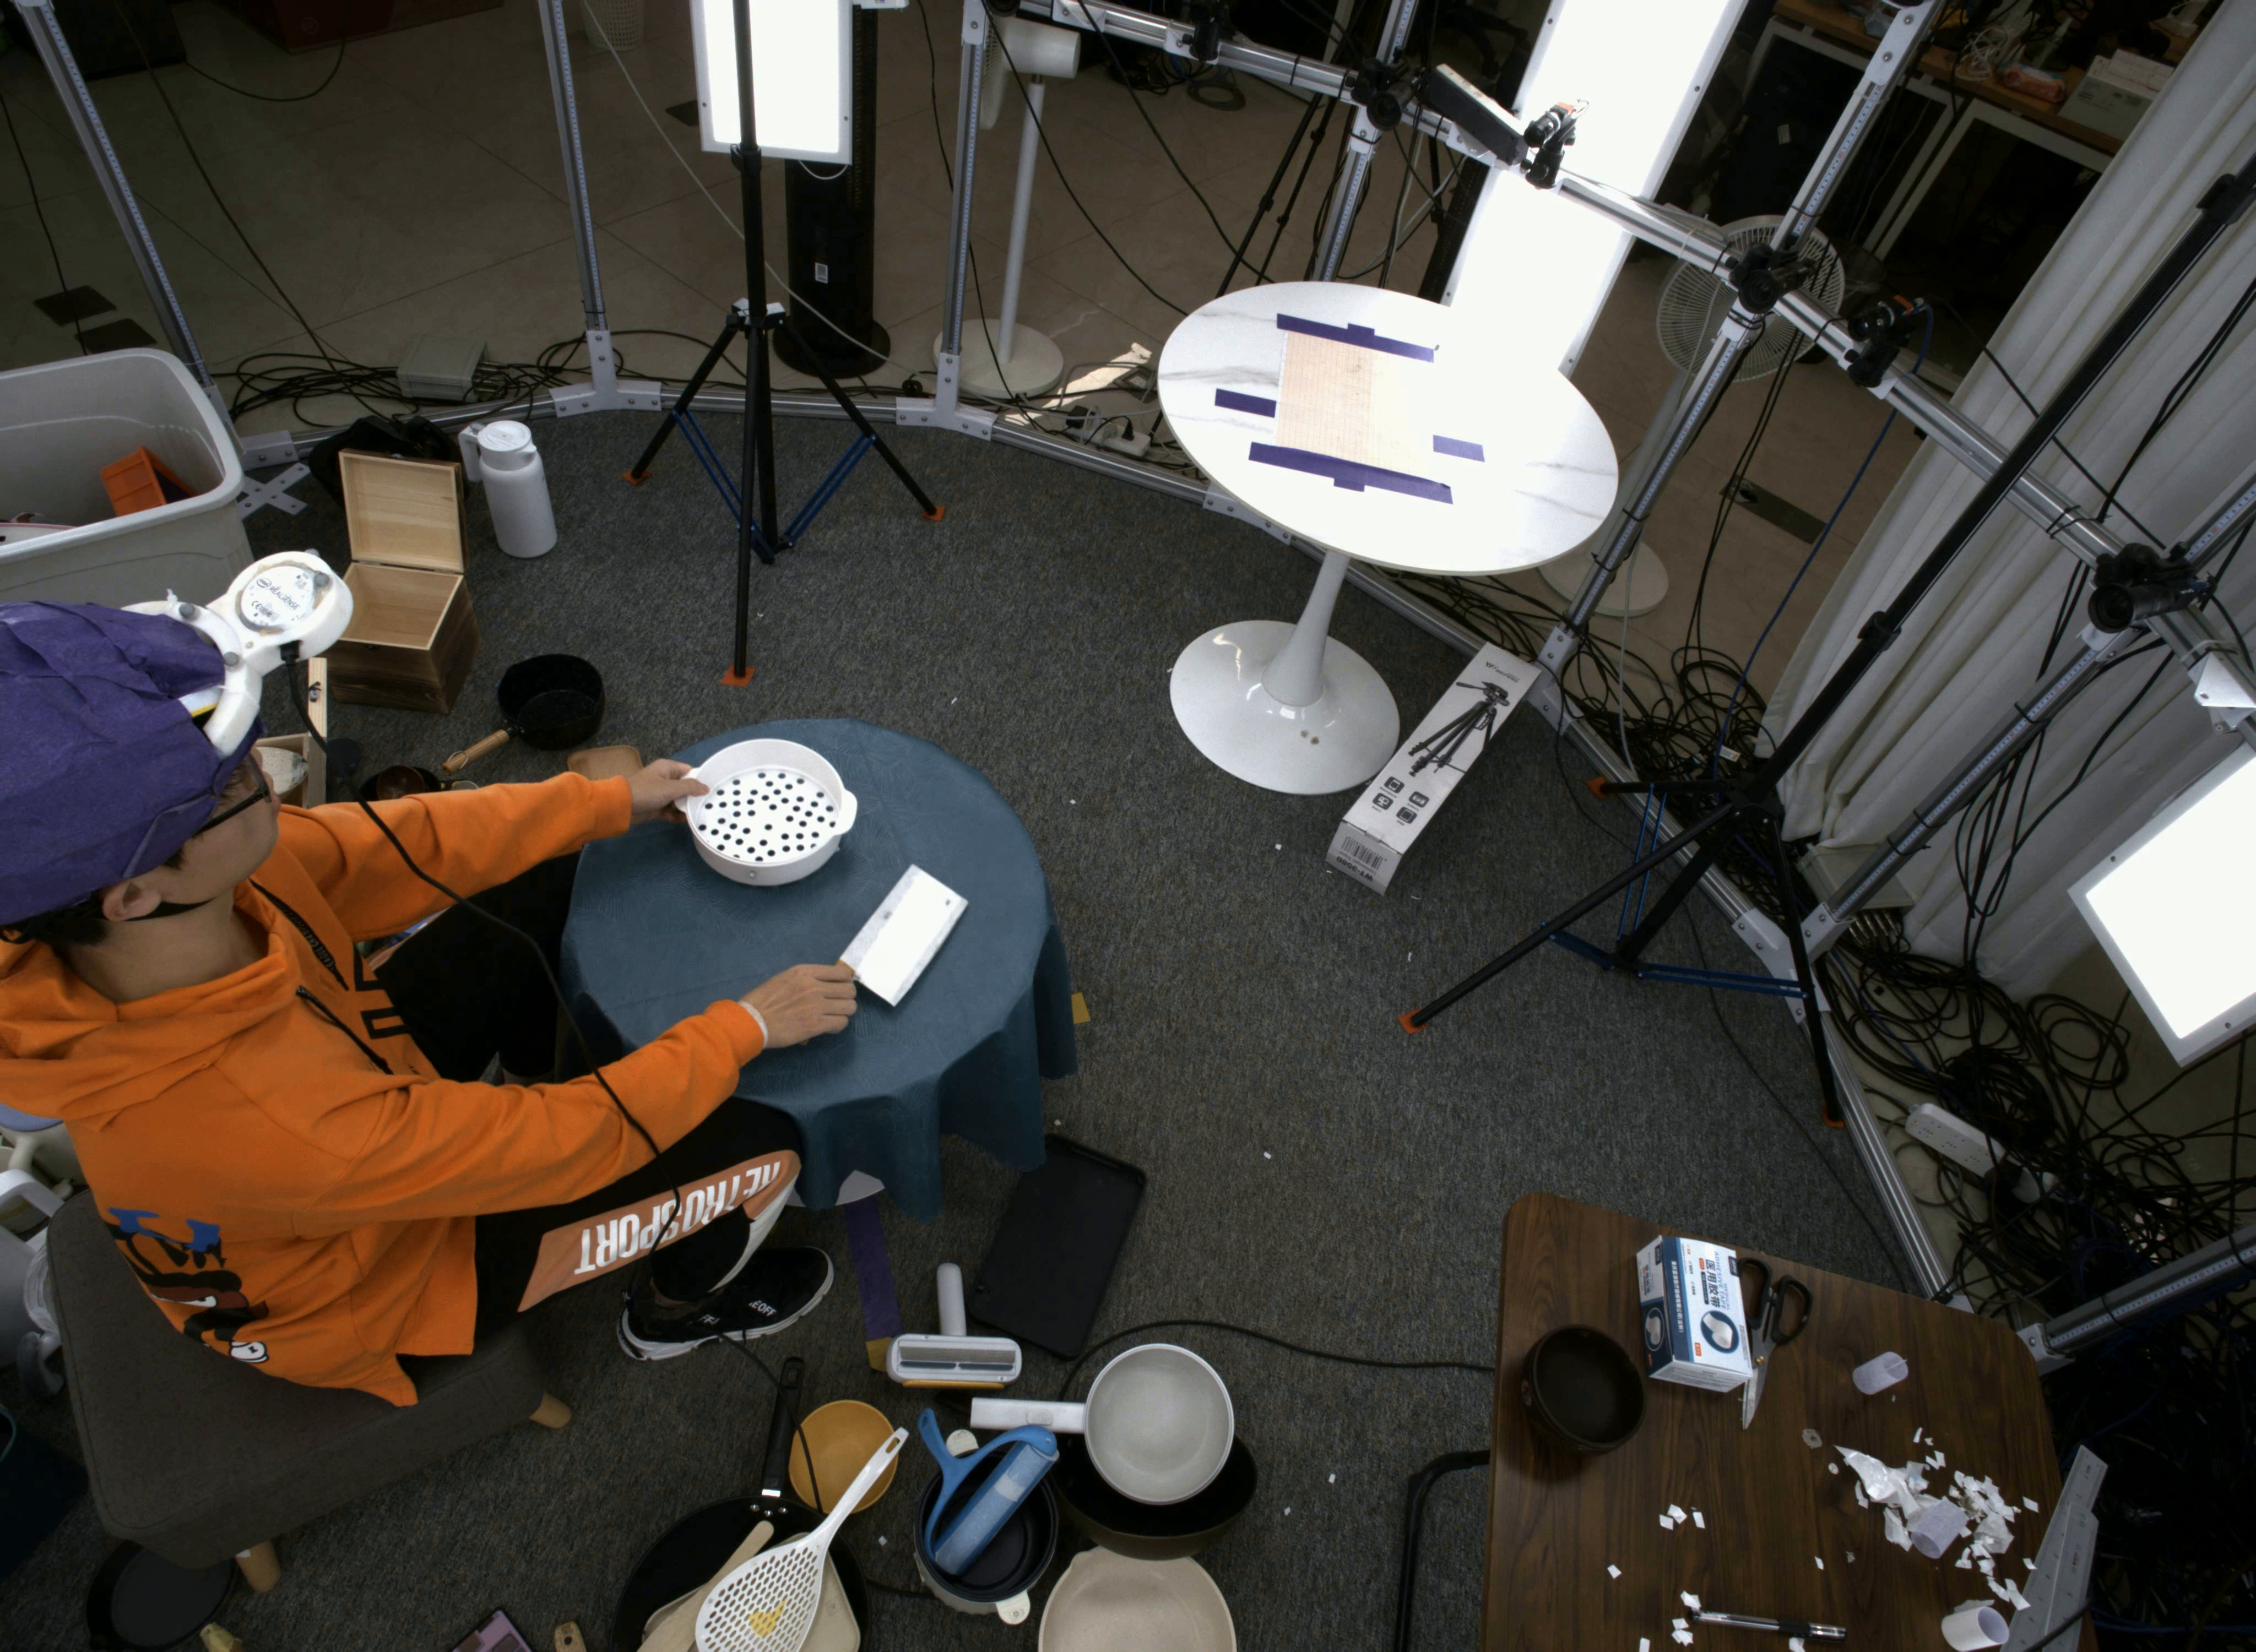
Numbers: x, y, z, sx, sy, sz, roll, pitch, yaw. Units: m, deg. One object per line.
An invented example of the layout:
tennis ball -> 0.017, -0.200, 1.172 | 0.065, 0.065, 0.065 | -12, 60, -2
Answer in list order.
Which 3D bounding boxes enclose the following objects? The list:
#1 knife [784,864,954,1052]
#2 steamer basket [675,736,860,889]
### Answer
knife -> -0.304, 0.165, 1.582 | 0.093, 0.021, 0.303 | 36, 48, -5
steamer basket -> -0.461, -0.018, 1.662 | 0.230, 0.070, 0.198 | 9, 55, -10
